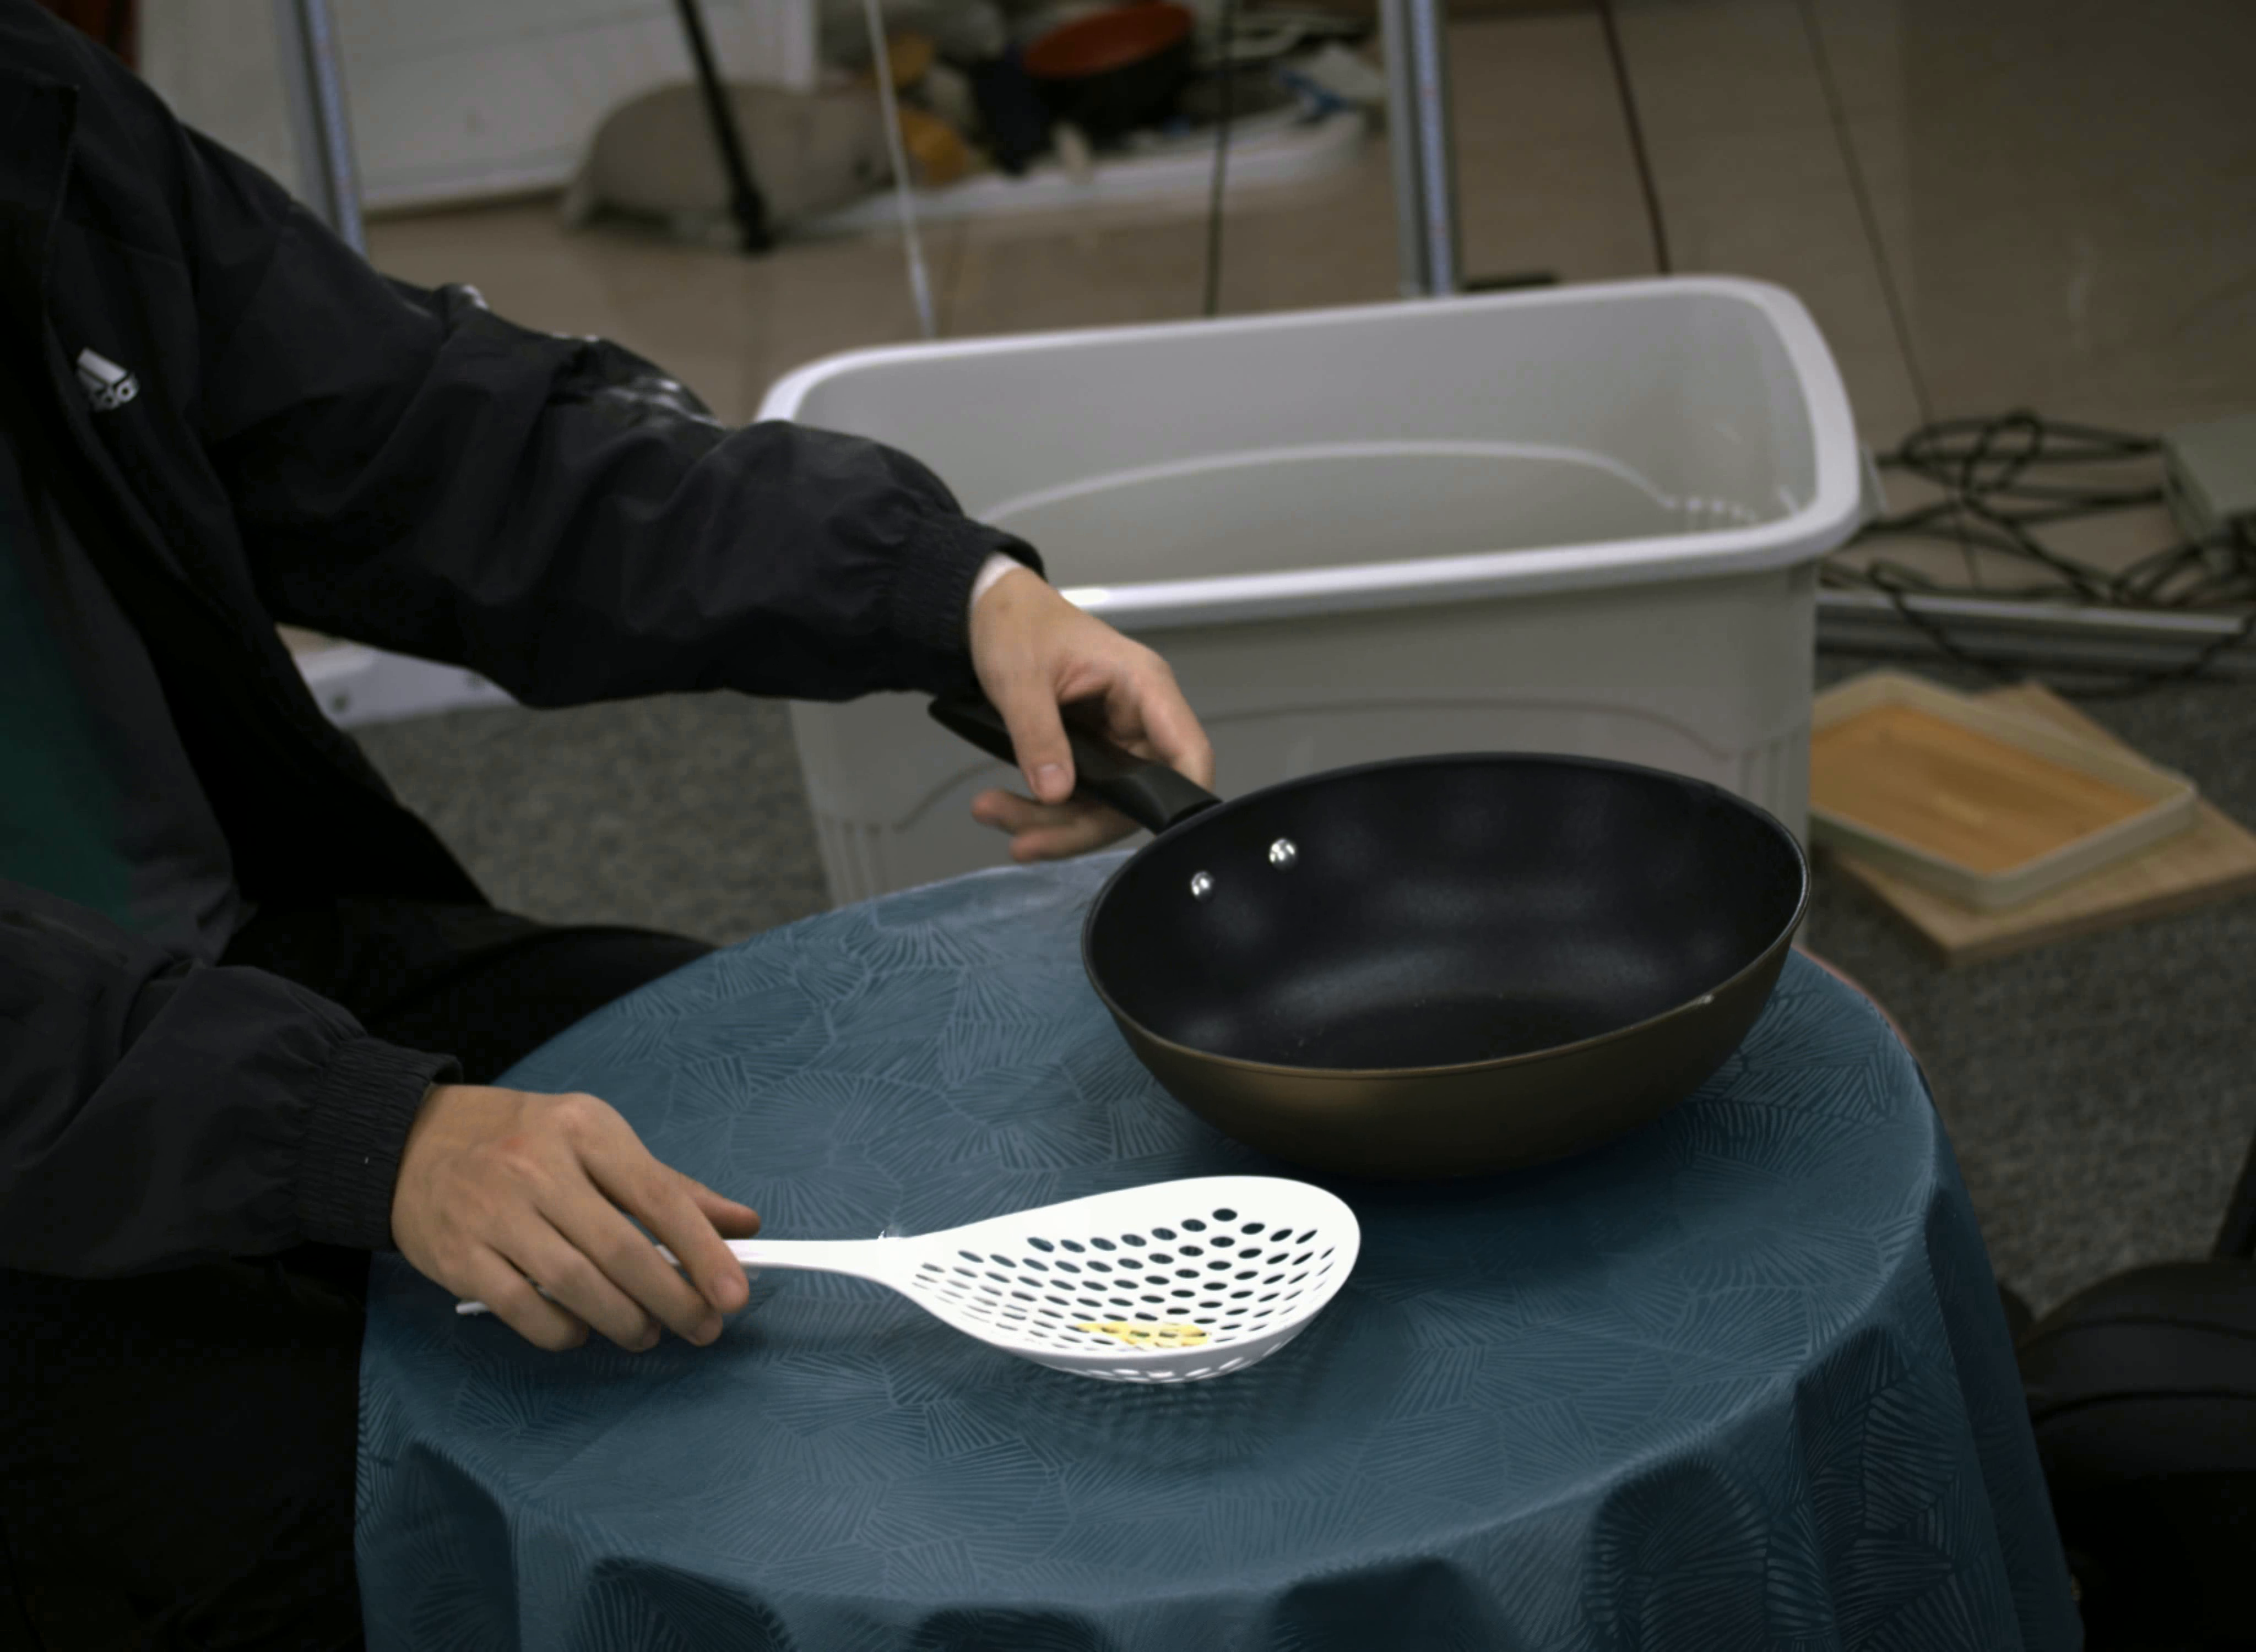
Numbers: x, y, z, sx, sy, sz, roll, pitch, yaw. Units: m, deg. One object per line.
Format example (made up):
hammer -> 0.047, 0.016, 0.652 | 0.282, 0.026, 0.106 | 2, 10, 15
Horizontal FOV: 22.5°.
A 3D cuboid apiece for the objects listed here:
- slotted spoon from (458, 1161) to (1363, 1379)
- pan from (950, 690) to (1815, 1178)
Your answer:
slotted spoon -> -0.084, 0.167, 2.058 | 0.347, 0.051, 0.135 | 2, 25, 18
pan -> 0.069, 0.039, 2.244 | 0.286, 0.088, 0.459 | -23, 29, -32
